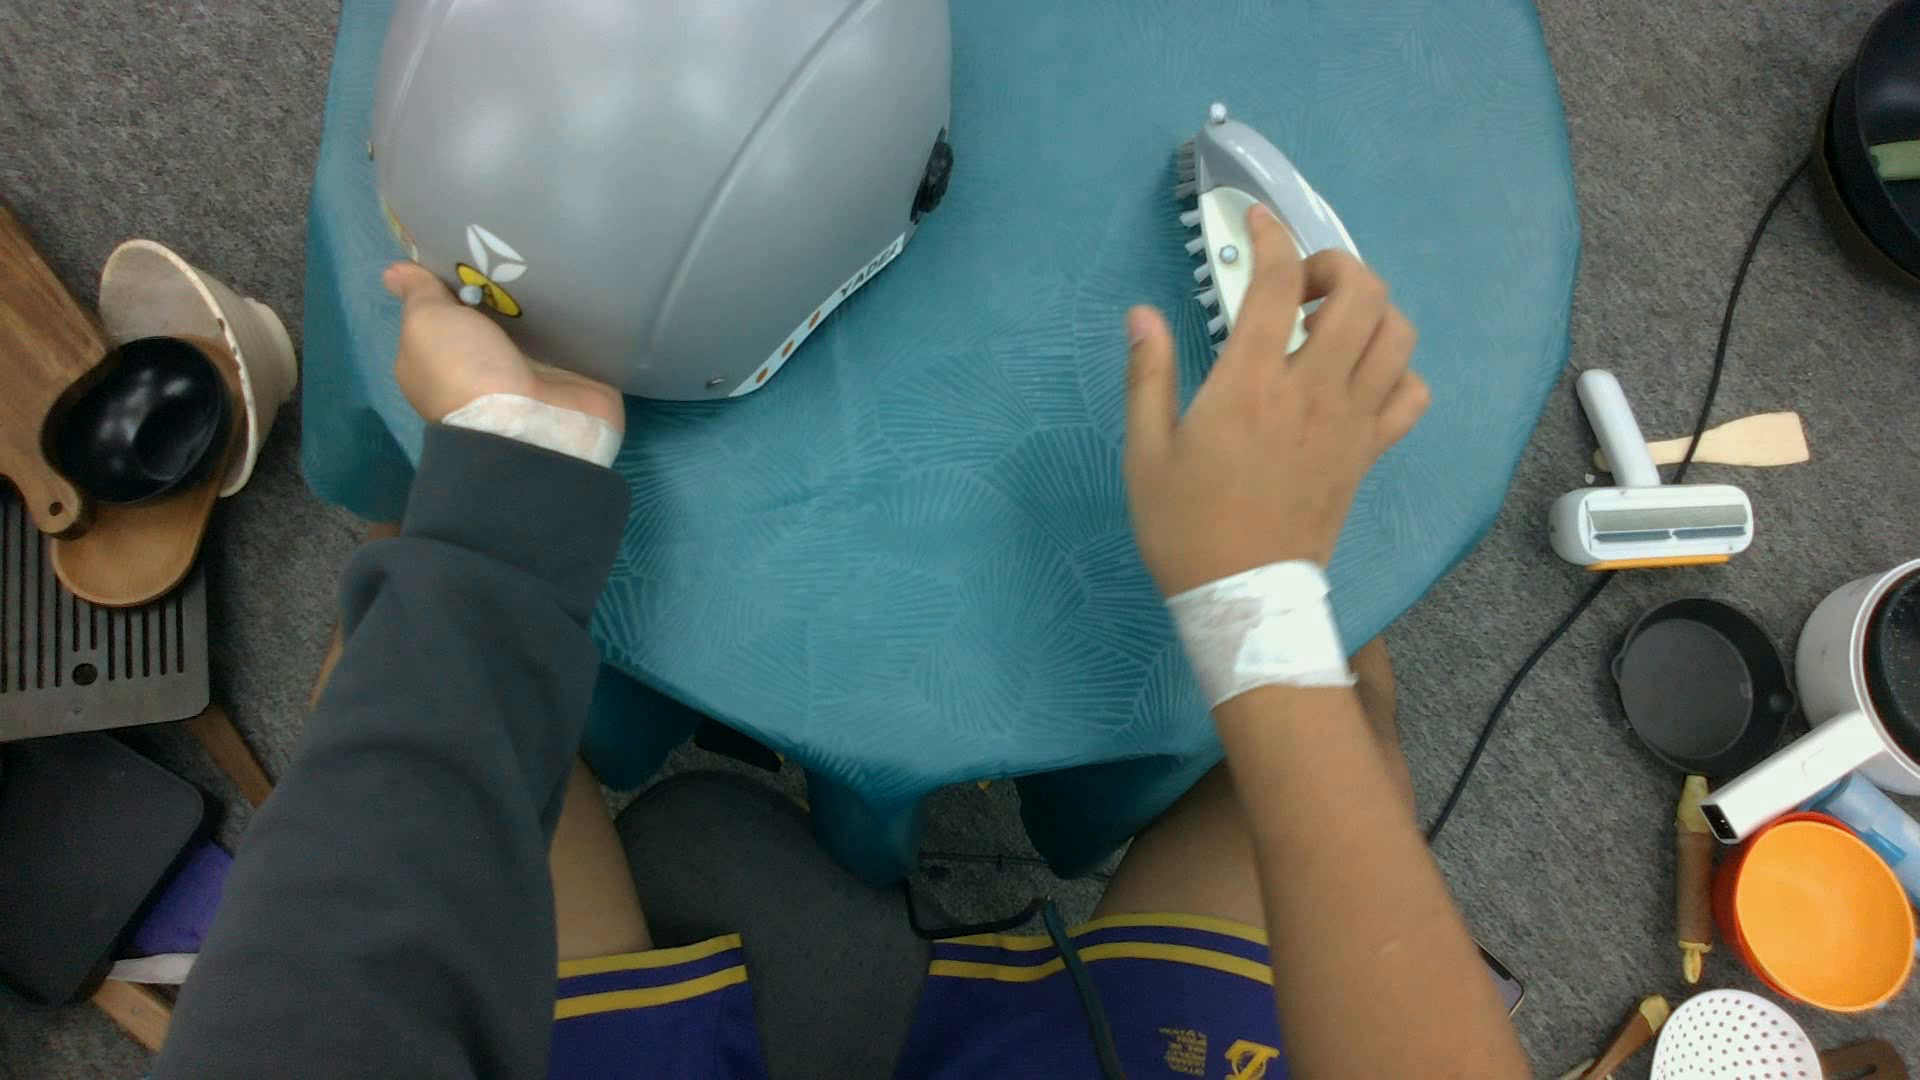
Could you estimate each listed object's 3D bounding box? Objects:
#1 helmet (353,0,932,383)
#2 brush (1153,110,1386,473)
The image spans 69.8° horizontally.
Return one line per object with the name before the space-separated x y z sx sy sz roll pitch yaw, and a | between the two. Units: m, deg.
helmet | -0.118 -0.209 0.562 0.232 0.168 0.277 34 75 -7
brush | 0.136 -0.123 0.614 0.061 0.094 0.175 -21 79 -13
